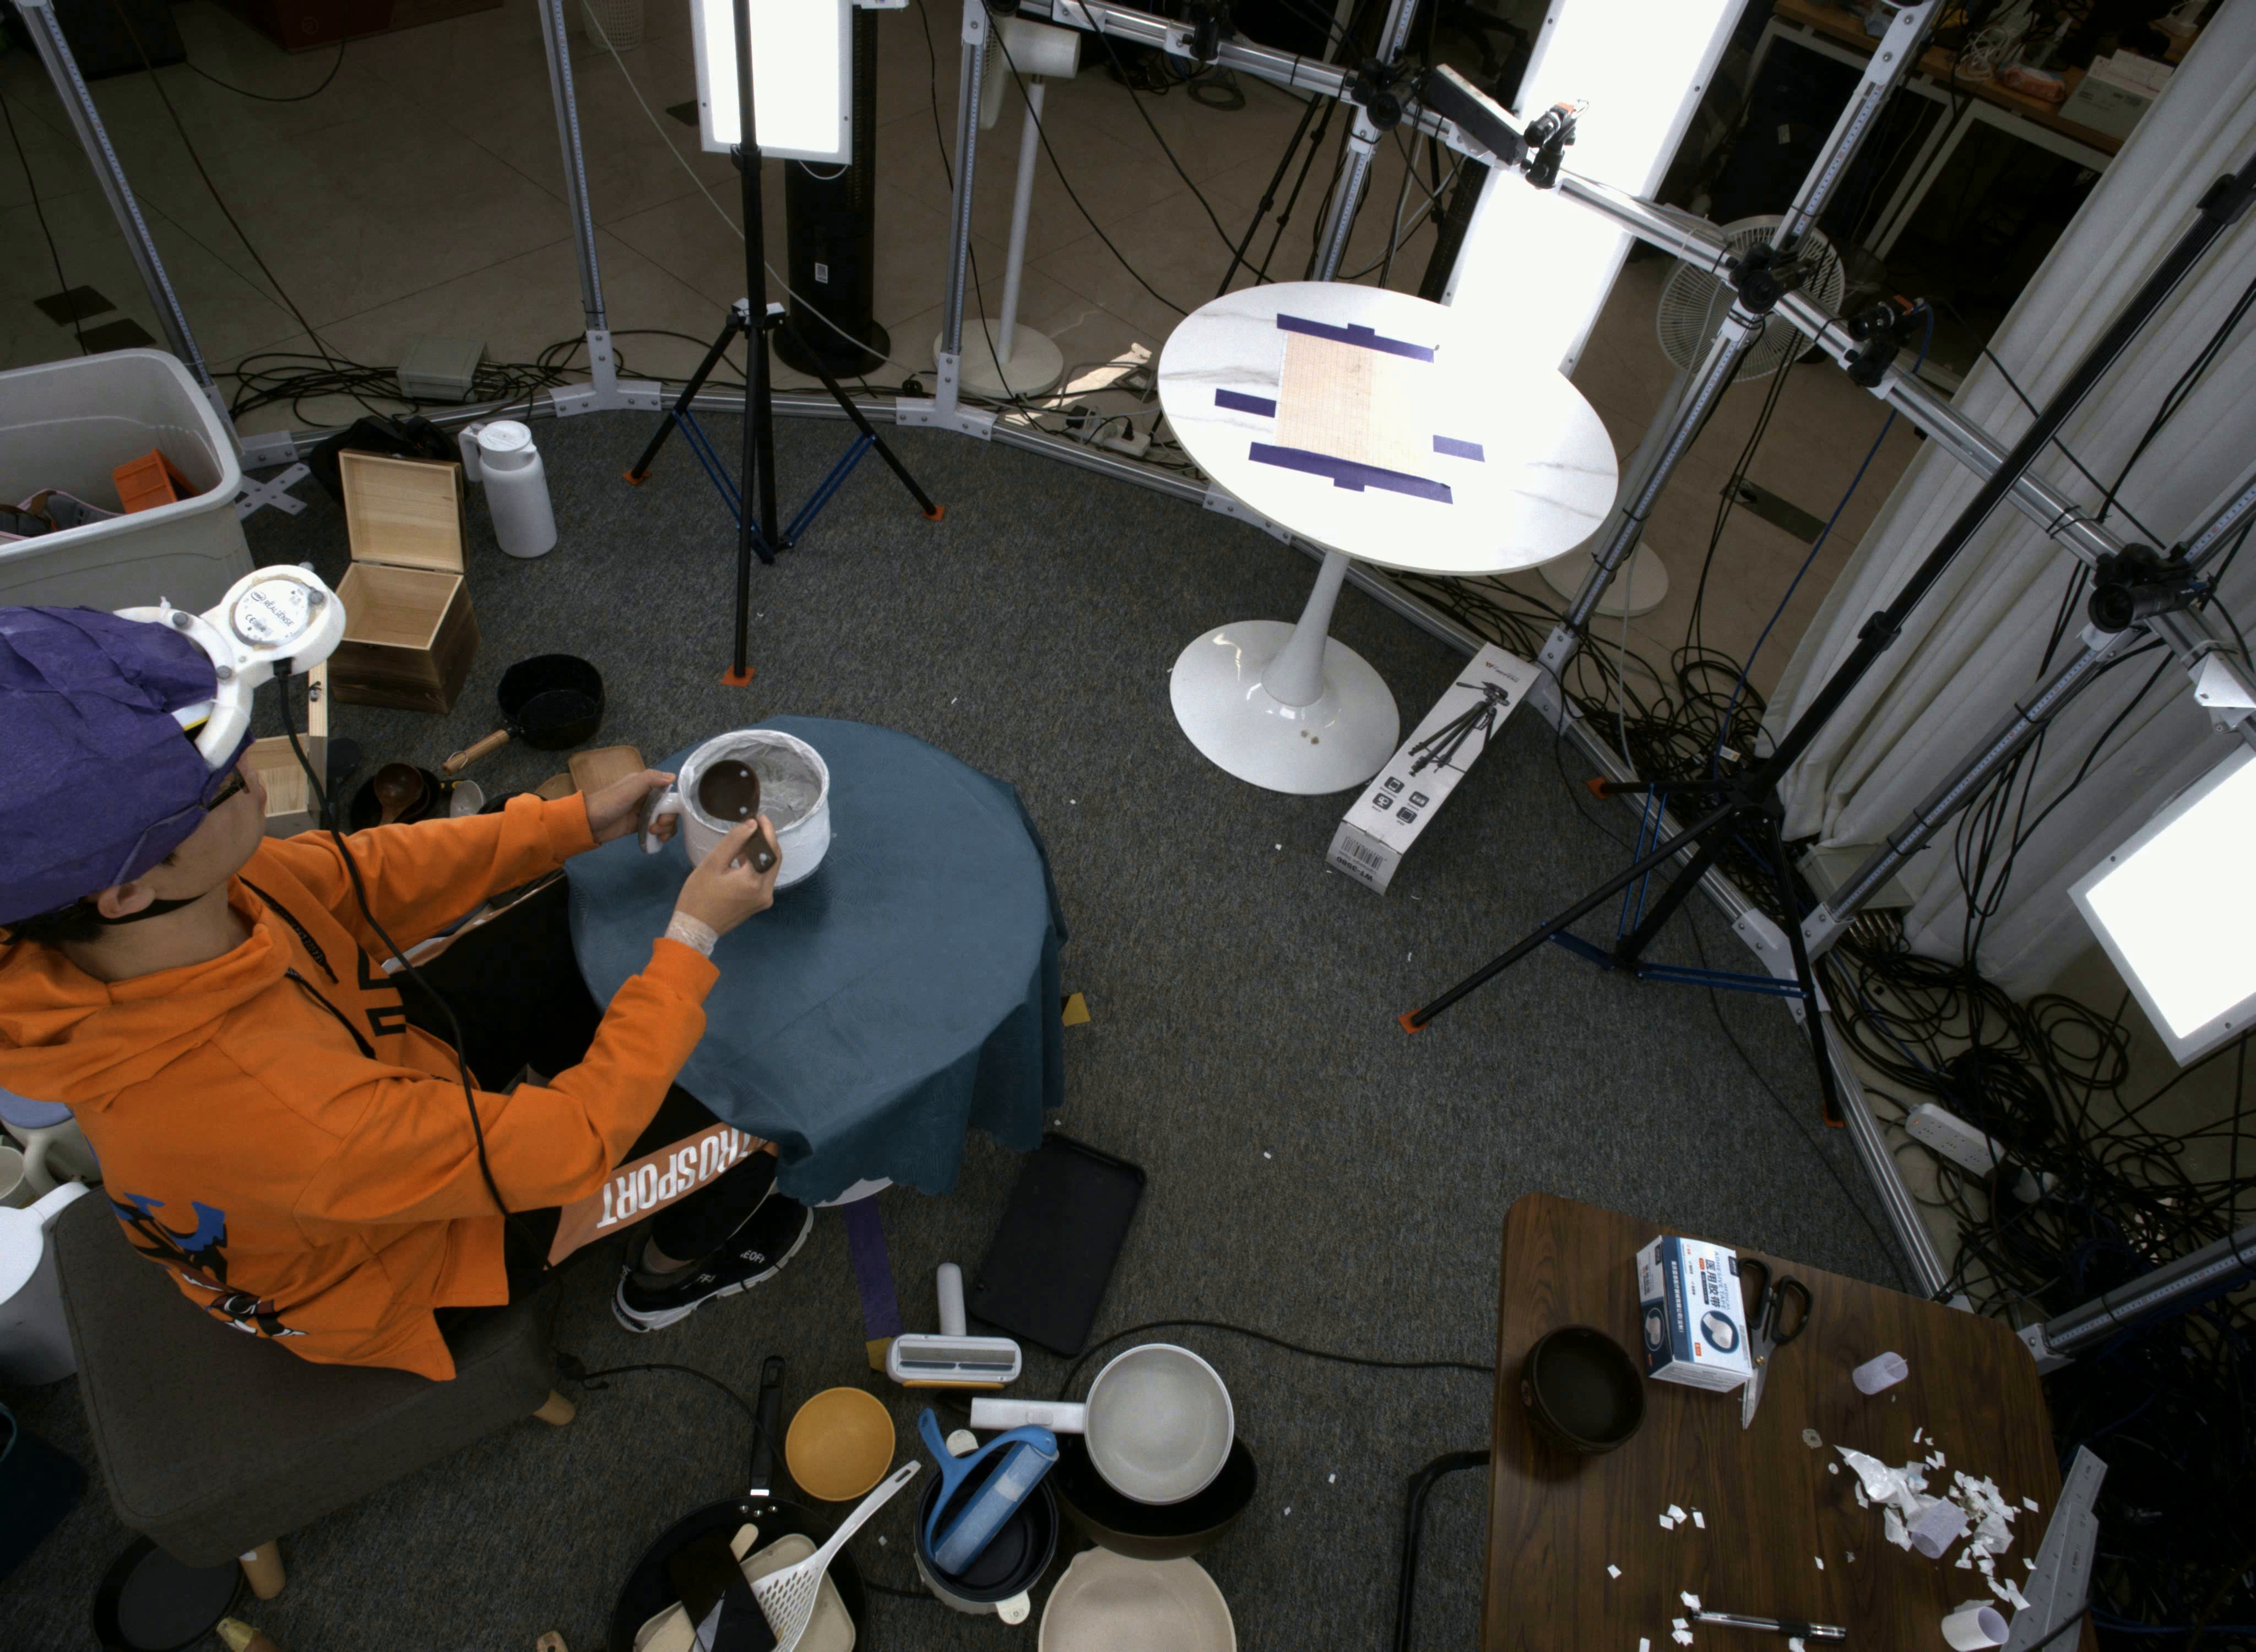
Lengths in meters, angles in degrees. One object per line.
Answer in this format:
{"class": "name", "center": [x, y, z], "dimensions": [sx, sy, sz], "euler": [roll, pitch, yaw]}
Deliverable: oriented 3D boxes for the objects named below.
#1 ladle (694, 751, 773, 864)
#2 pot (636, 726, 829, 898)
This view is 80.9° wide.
{"class": "ladle", "center": [-0.433, -0.024, 1.413], "dimensions": [0.076, 0.266, 0.073], "euler": [-46, 115, -4]}
{"class": "pot", "center": [-0.481, -0.013, 1.566], "dimensions": [0.234, 0.140, 0.174], "euler": [-3, 49, -16]}
